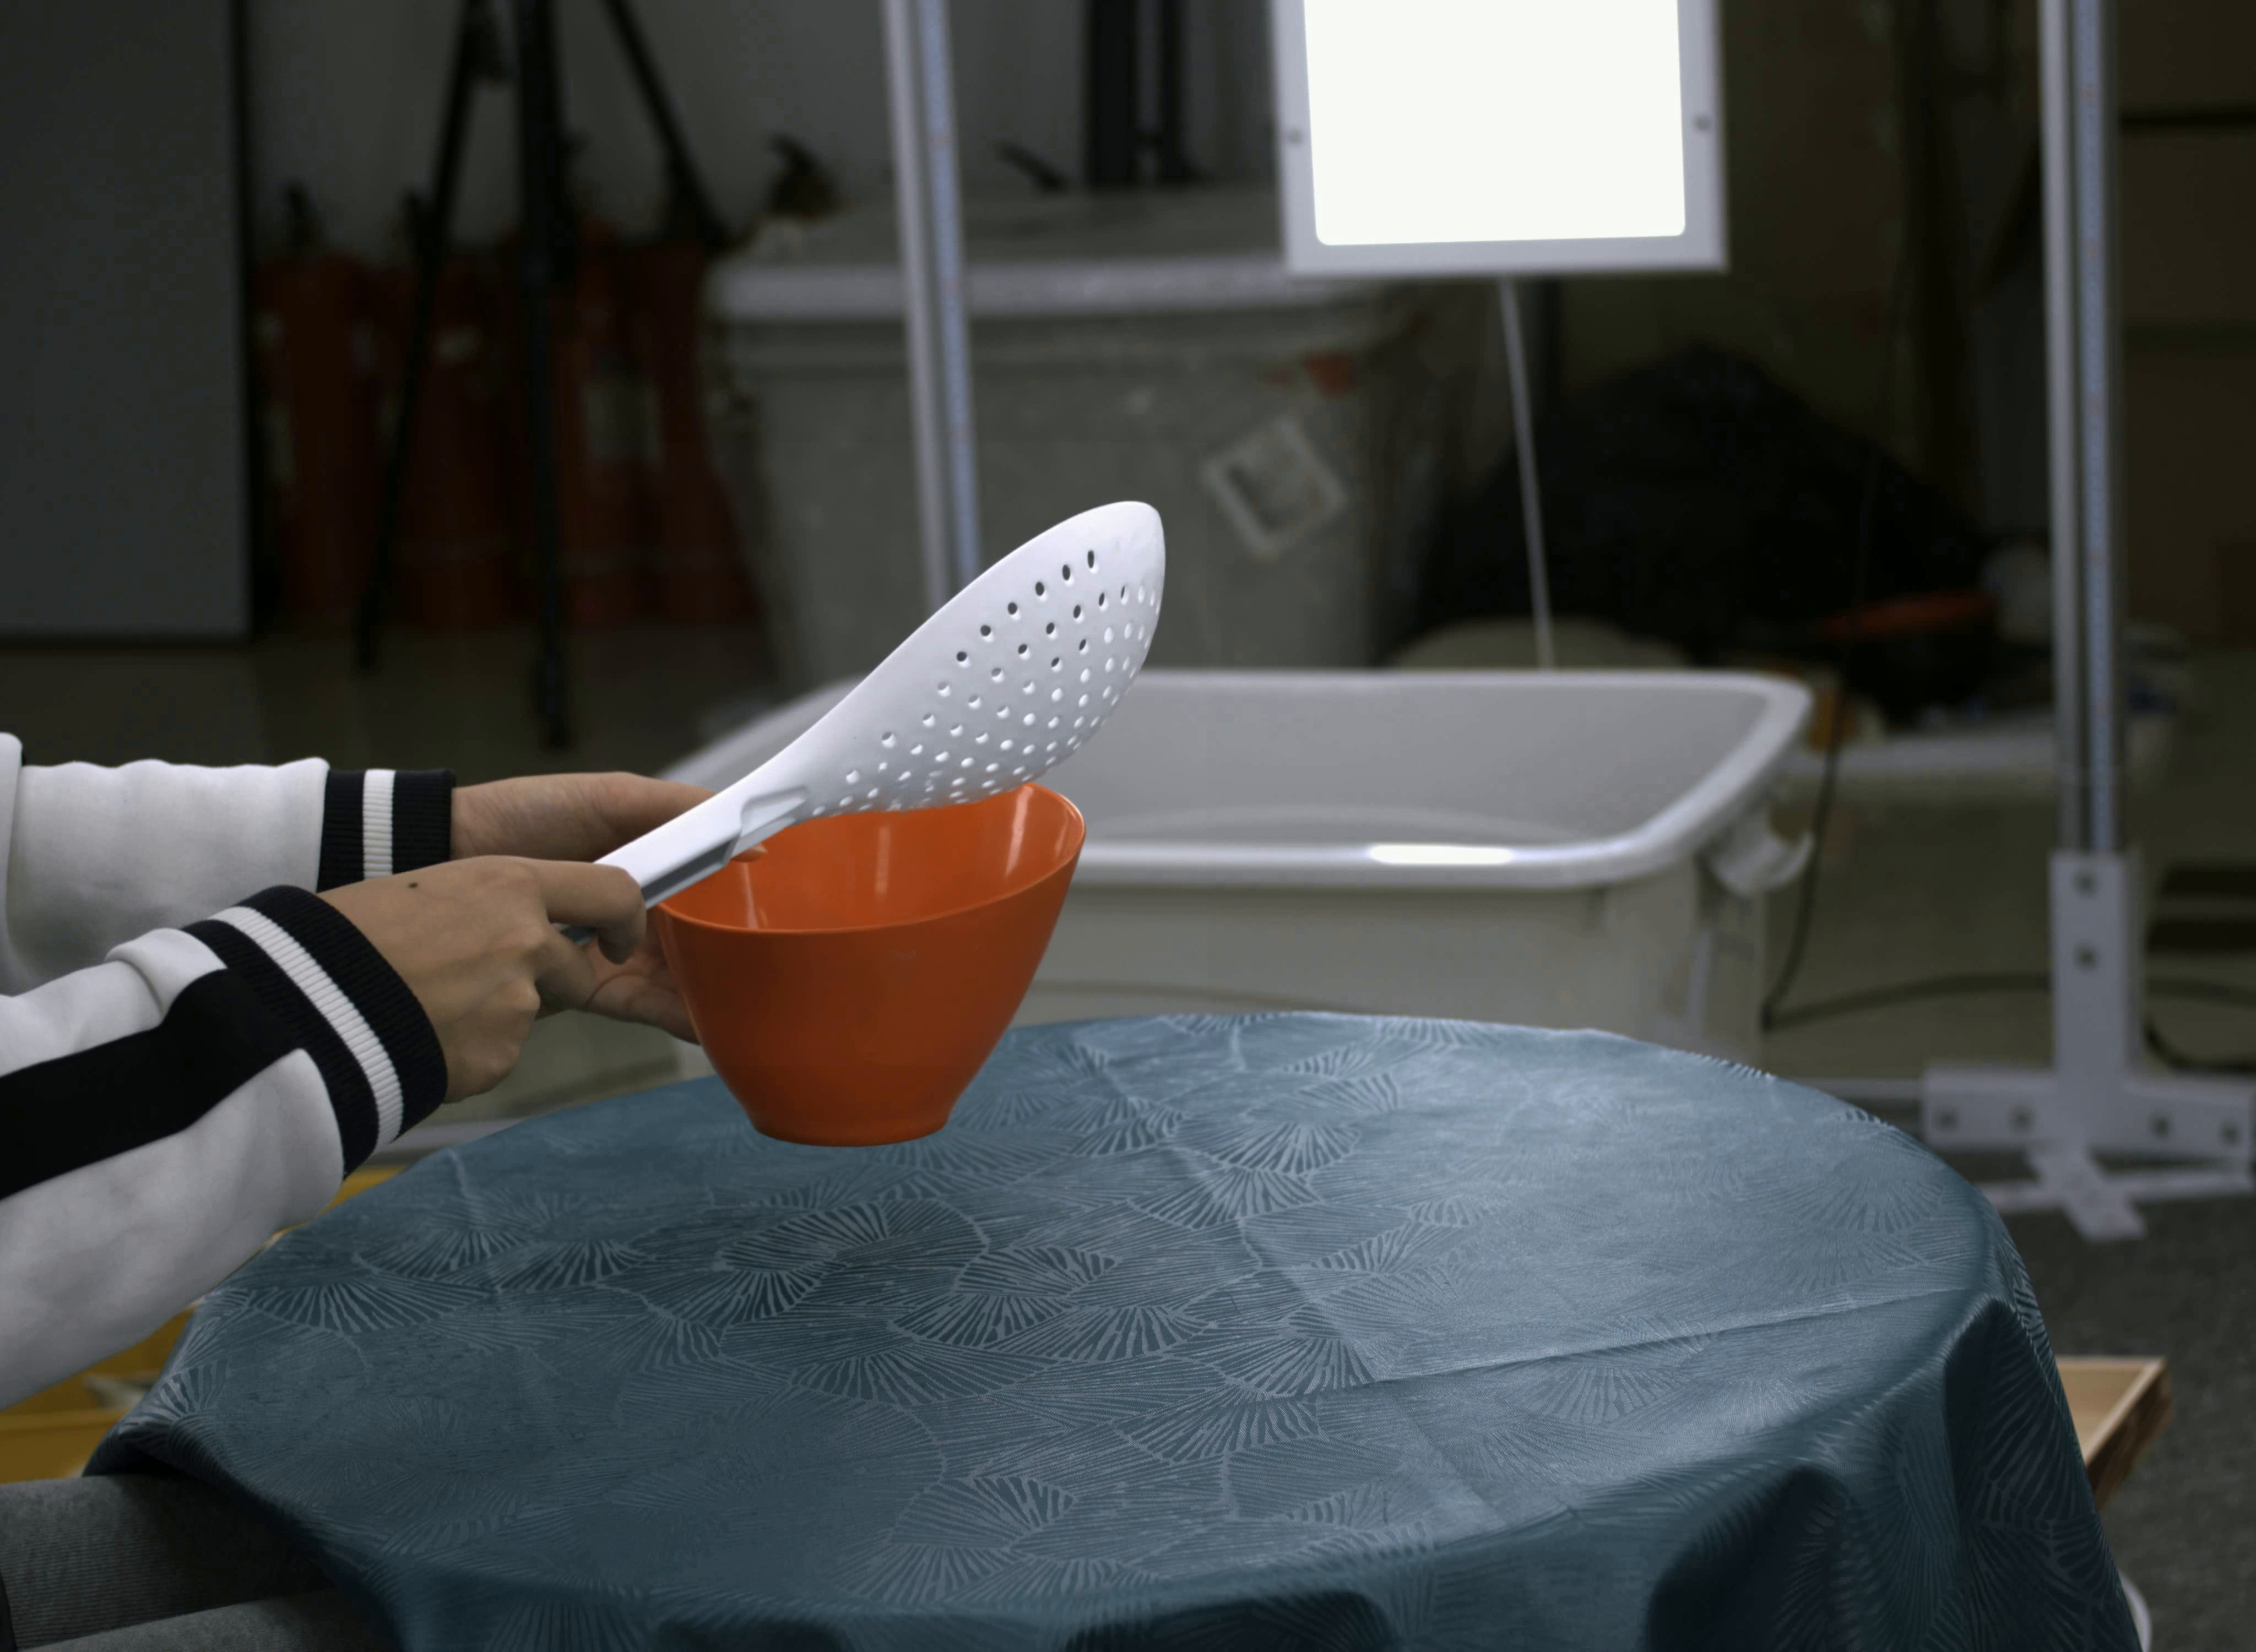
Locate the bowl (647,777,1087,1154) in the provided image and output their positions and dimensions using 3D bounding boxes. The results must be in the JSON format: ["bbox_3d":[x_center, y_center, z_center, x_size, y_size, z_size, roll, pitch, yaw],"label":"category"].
[{"bbox_3d":[-0.087,0.049,1.847,0.147,0.105,0.148,-1,14,-1],"label":"bowl"}]

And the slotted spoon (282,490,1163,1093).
[{"bbox_3d":[-0.117,-0.007,1.708,0.342,0.046,0.138,-26,-22,-28],"label":"slotted spoon"}]
